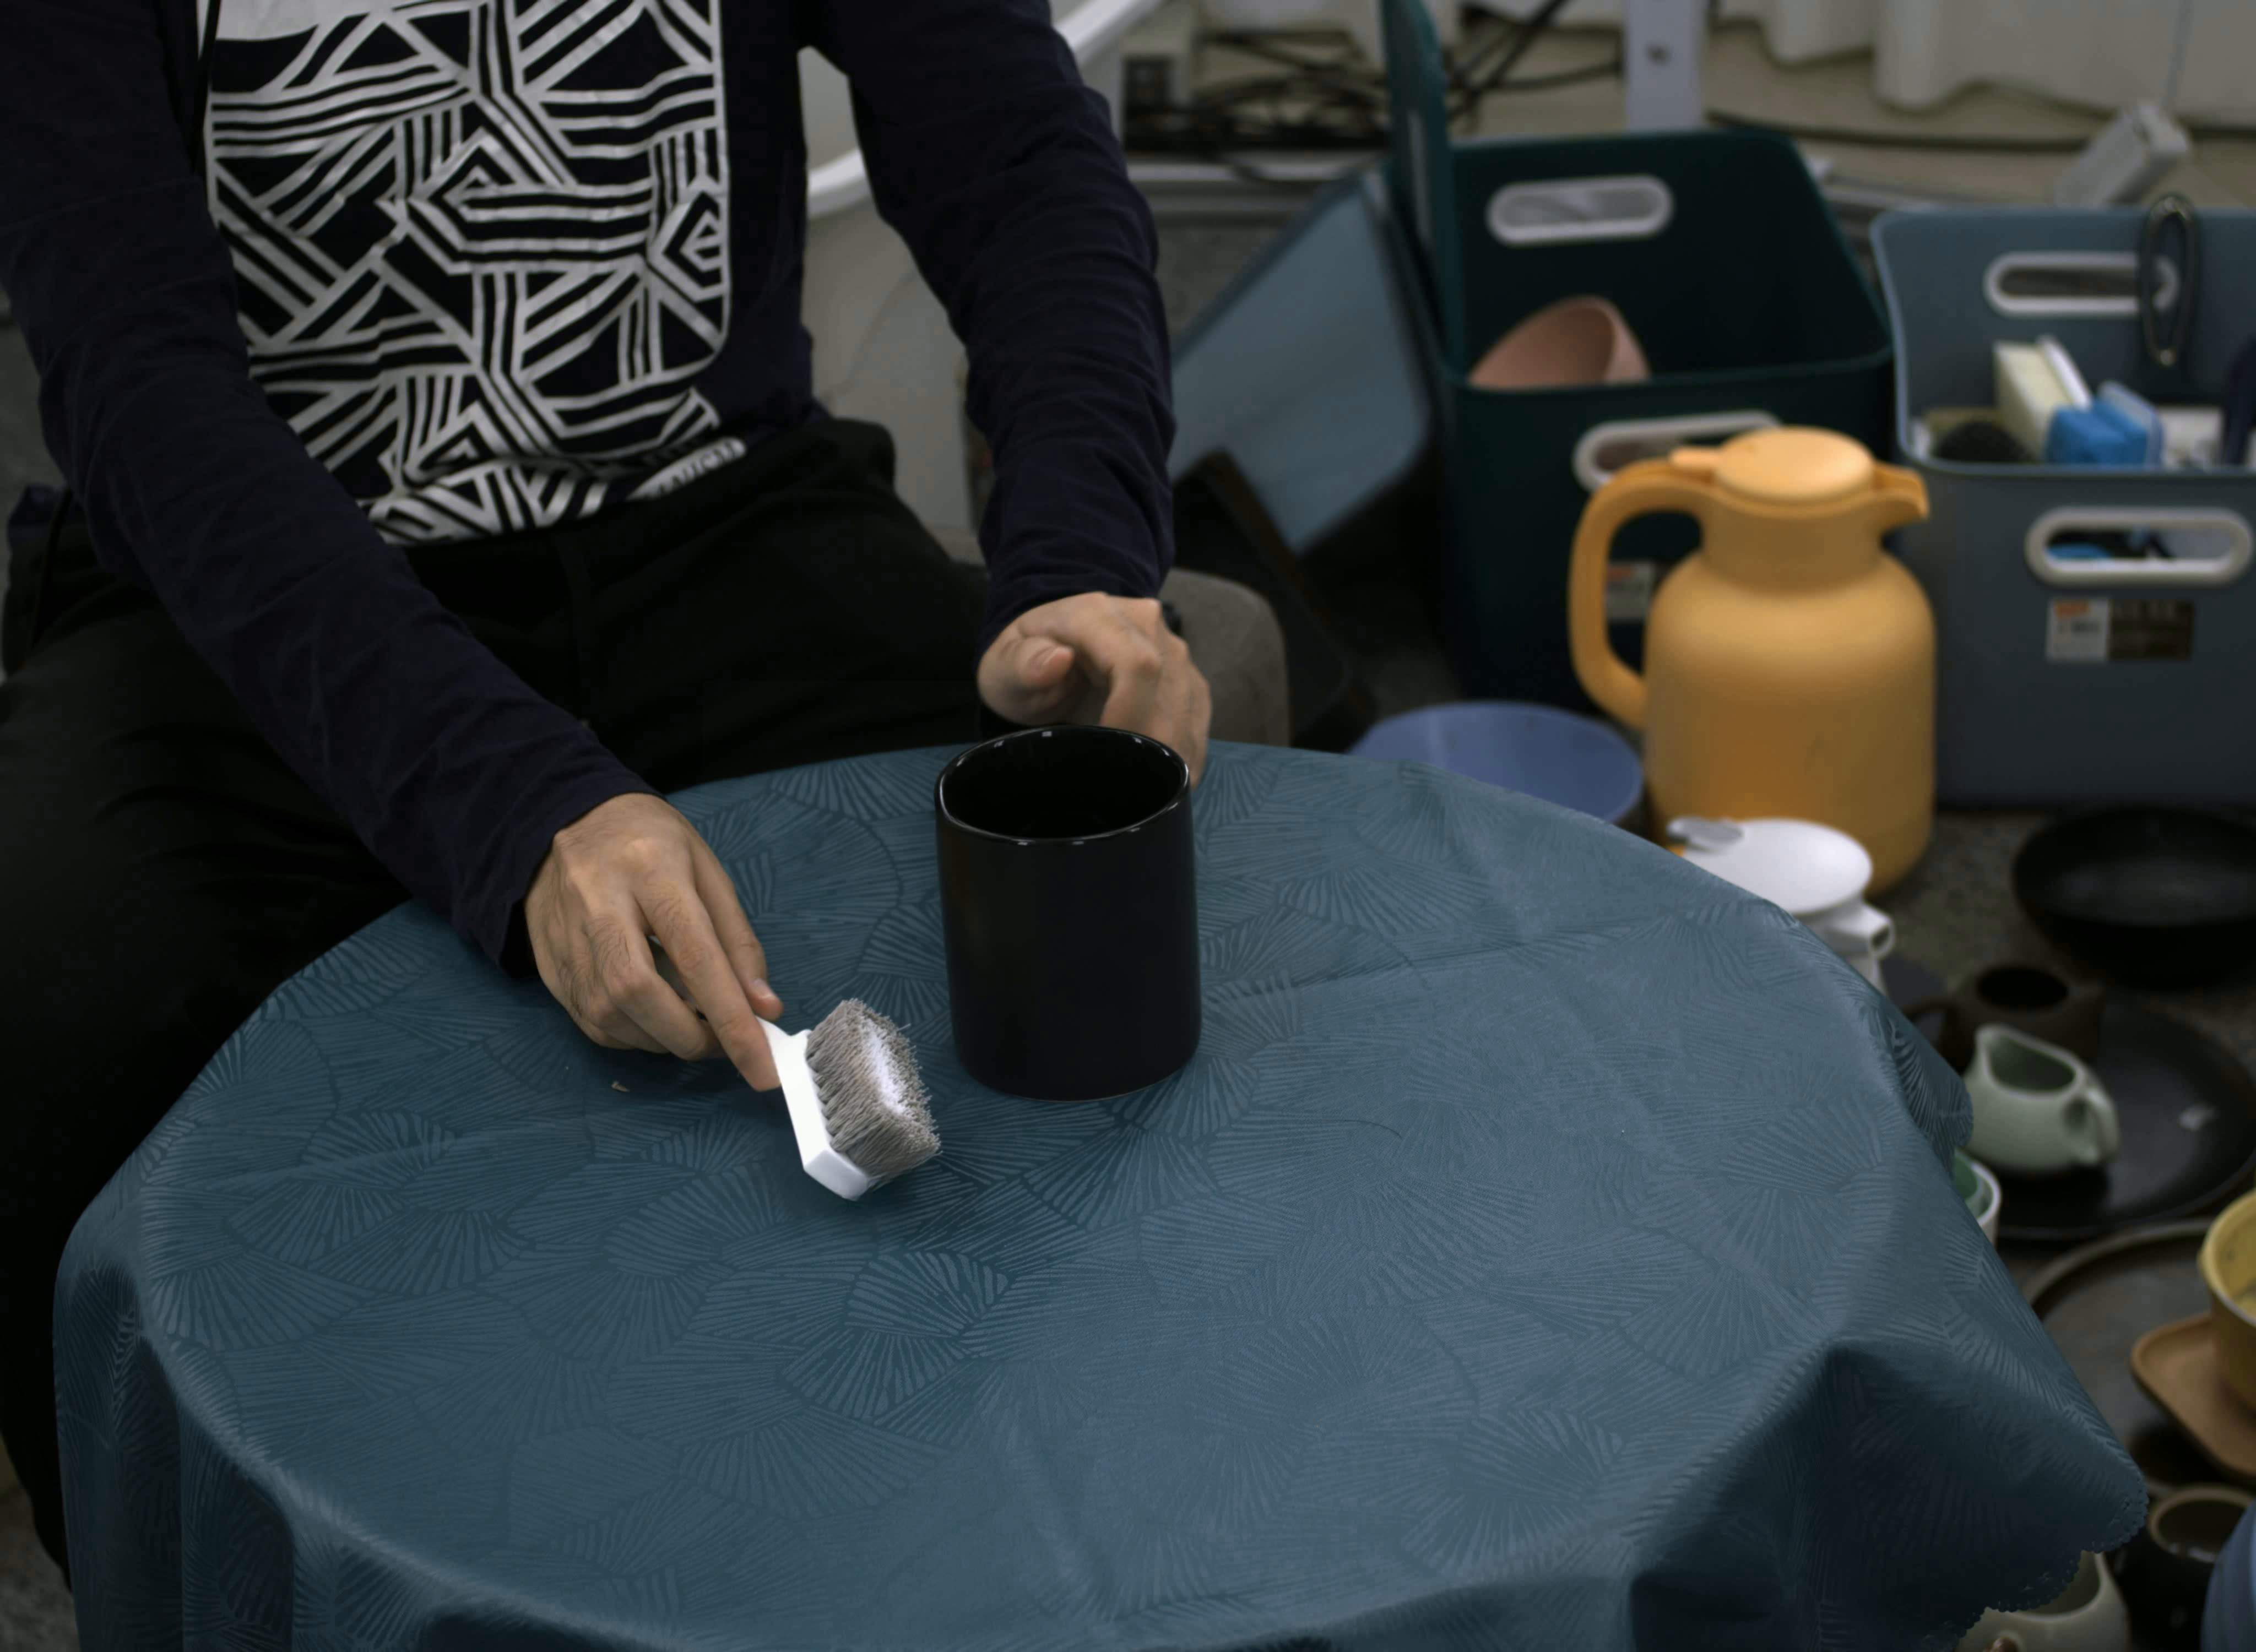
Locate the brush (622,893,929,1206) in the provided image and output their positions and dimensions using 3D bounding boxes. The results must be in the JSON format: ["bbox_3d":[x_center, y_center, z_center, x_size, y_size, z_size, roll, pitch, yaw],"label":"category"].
[{"bbox_3d":[-0.123,0.059,1.938,0.034,0.050,0.245,25,11,-30],"label":"brush"}]

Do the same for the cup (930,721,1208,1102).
[{"bbox_3d":[-0.024,0.022,1.943,0.088,0.104,0.125,-10,26,-10],"label":"cup"}]
